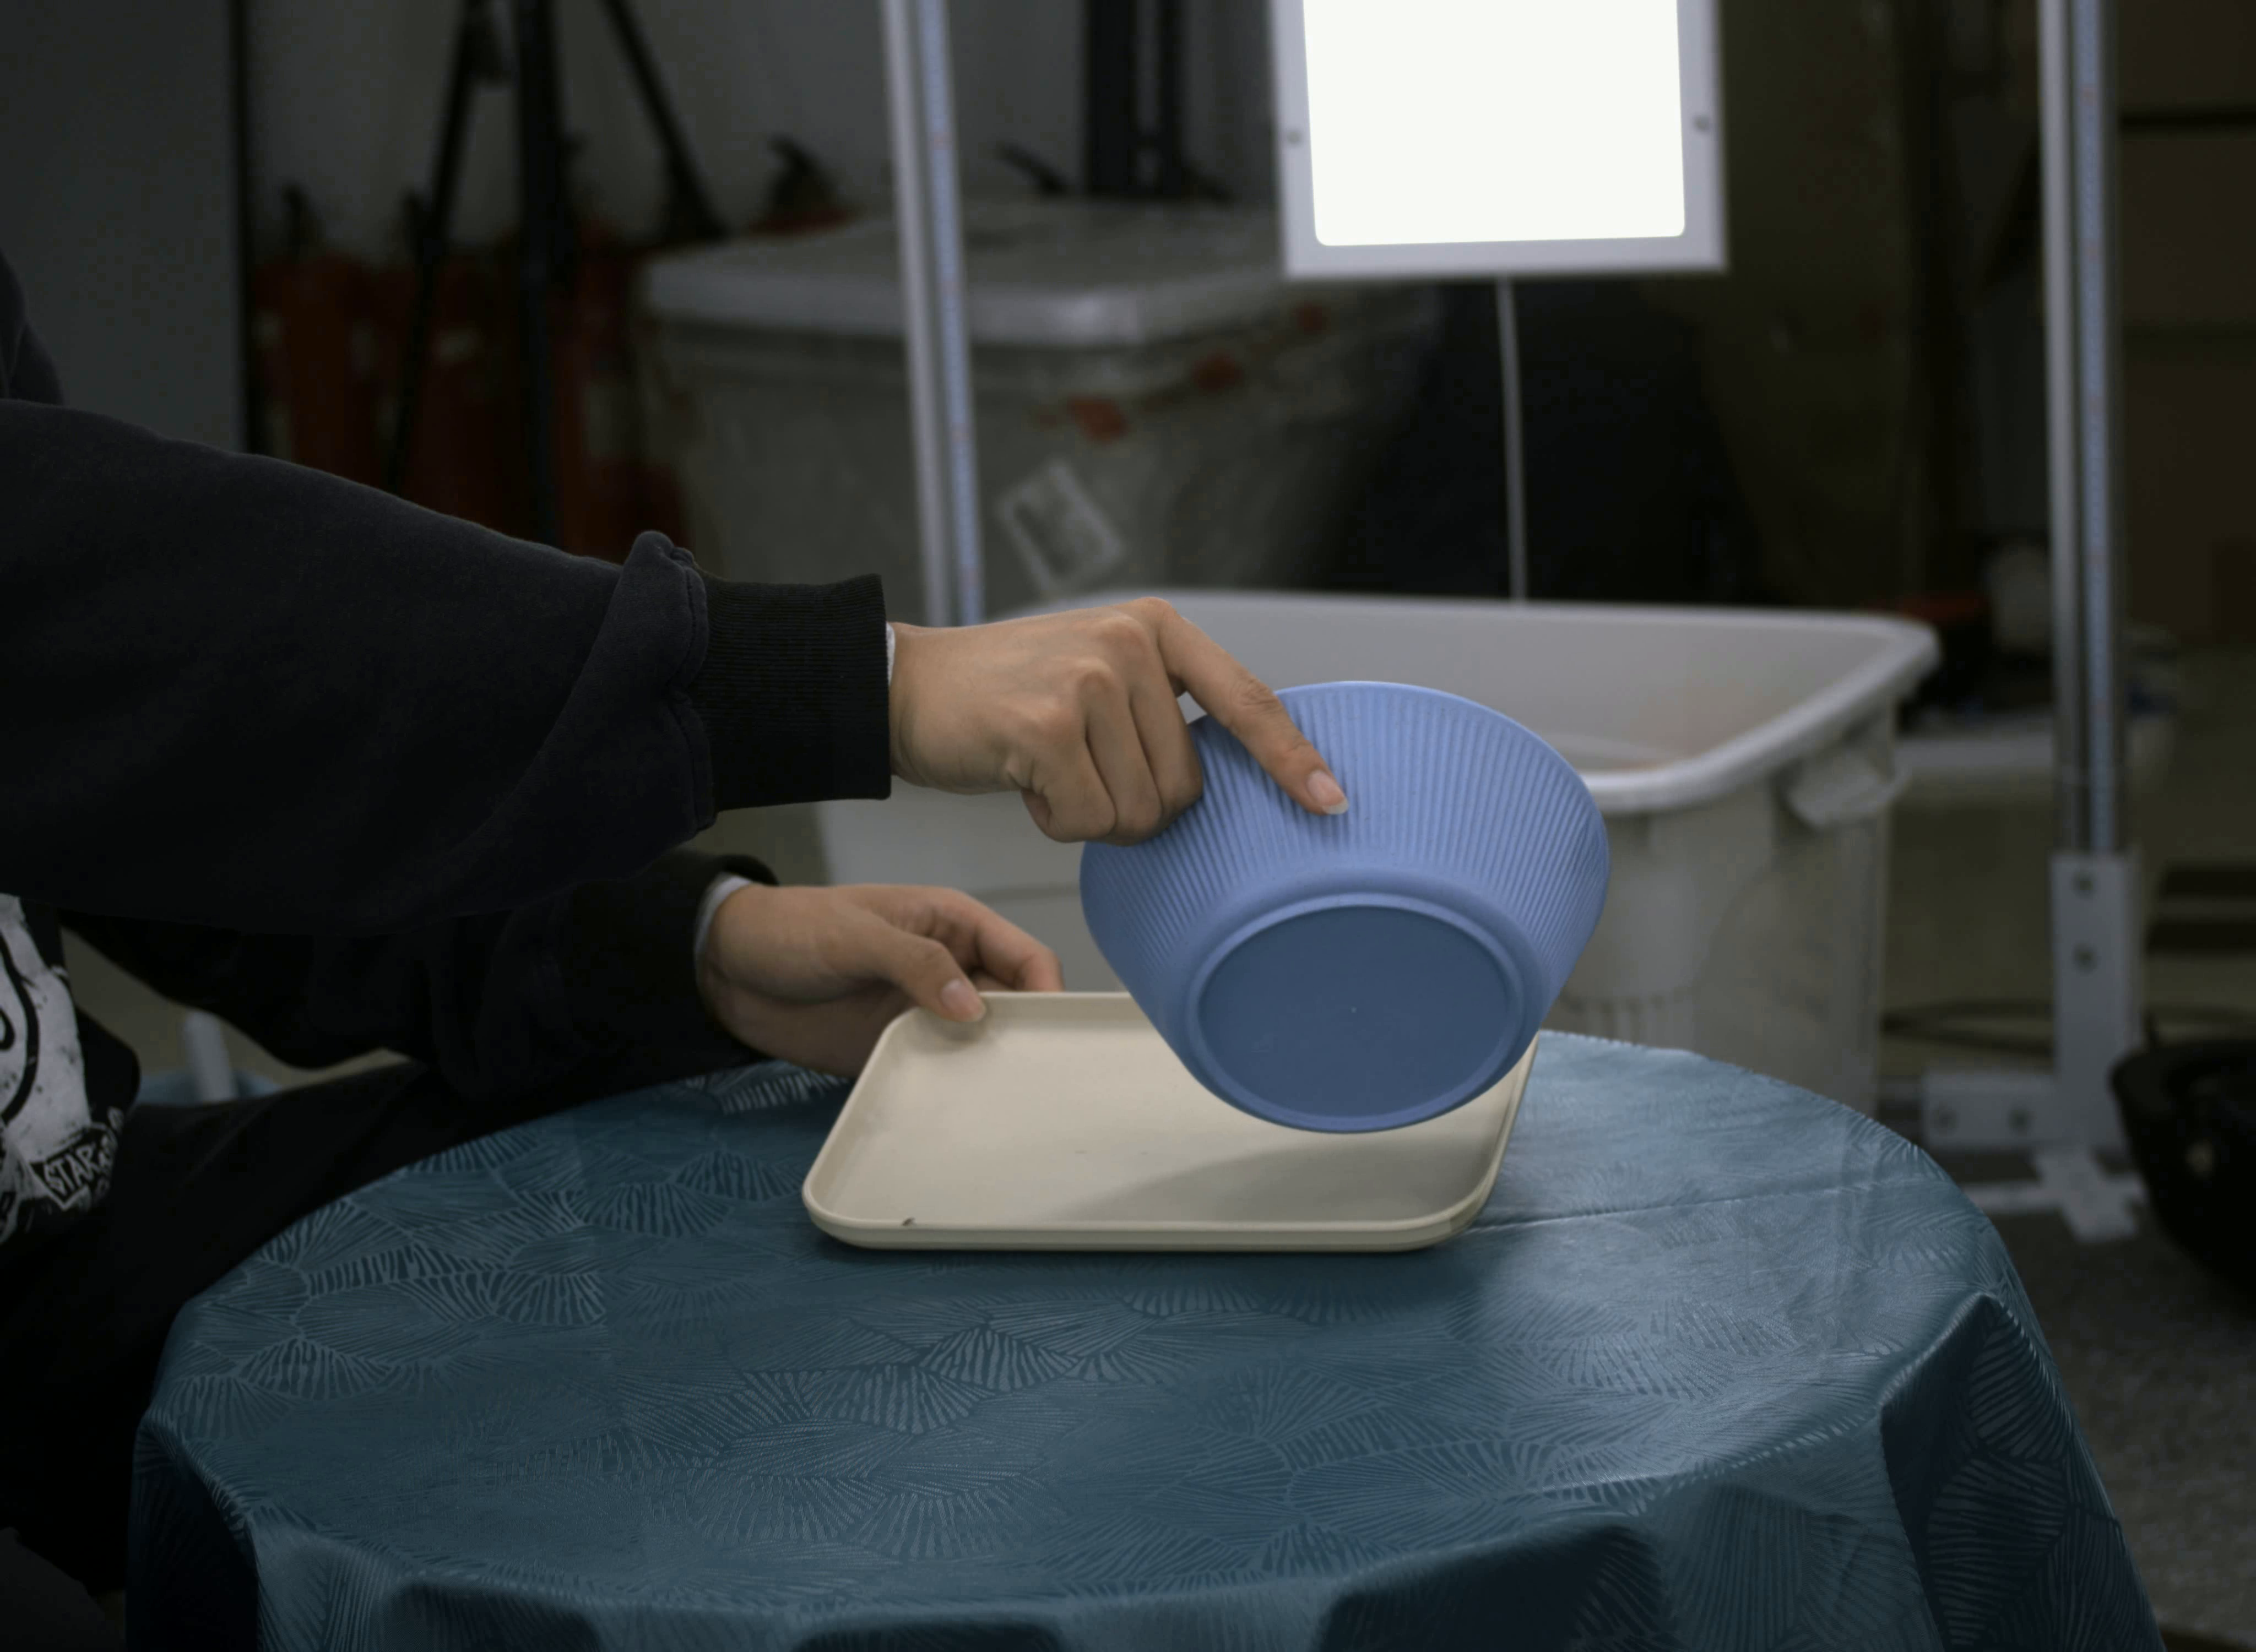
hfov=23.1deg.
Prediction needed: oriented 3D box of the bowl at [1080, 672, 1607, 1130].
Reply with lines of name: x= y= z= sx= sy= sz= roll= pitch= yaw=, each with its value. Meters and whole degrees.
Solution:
bowl: x=0.072 y=0.036 z=1.792 sx=0.176 sy=0.176 sz=0.070 roll=-3 pitch=43 yaw=4

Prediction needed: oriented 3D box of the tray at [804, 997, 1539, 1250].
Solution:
tray: x=0.018 y=0.103 z=1.897 sx=0.242 sy=0.017 sz=0.169 roll=-1 pitch=25 yaw=16
